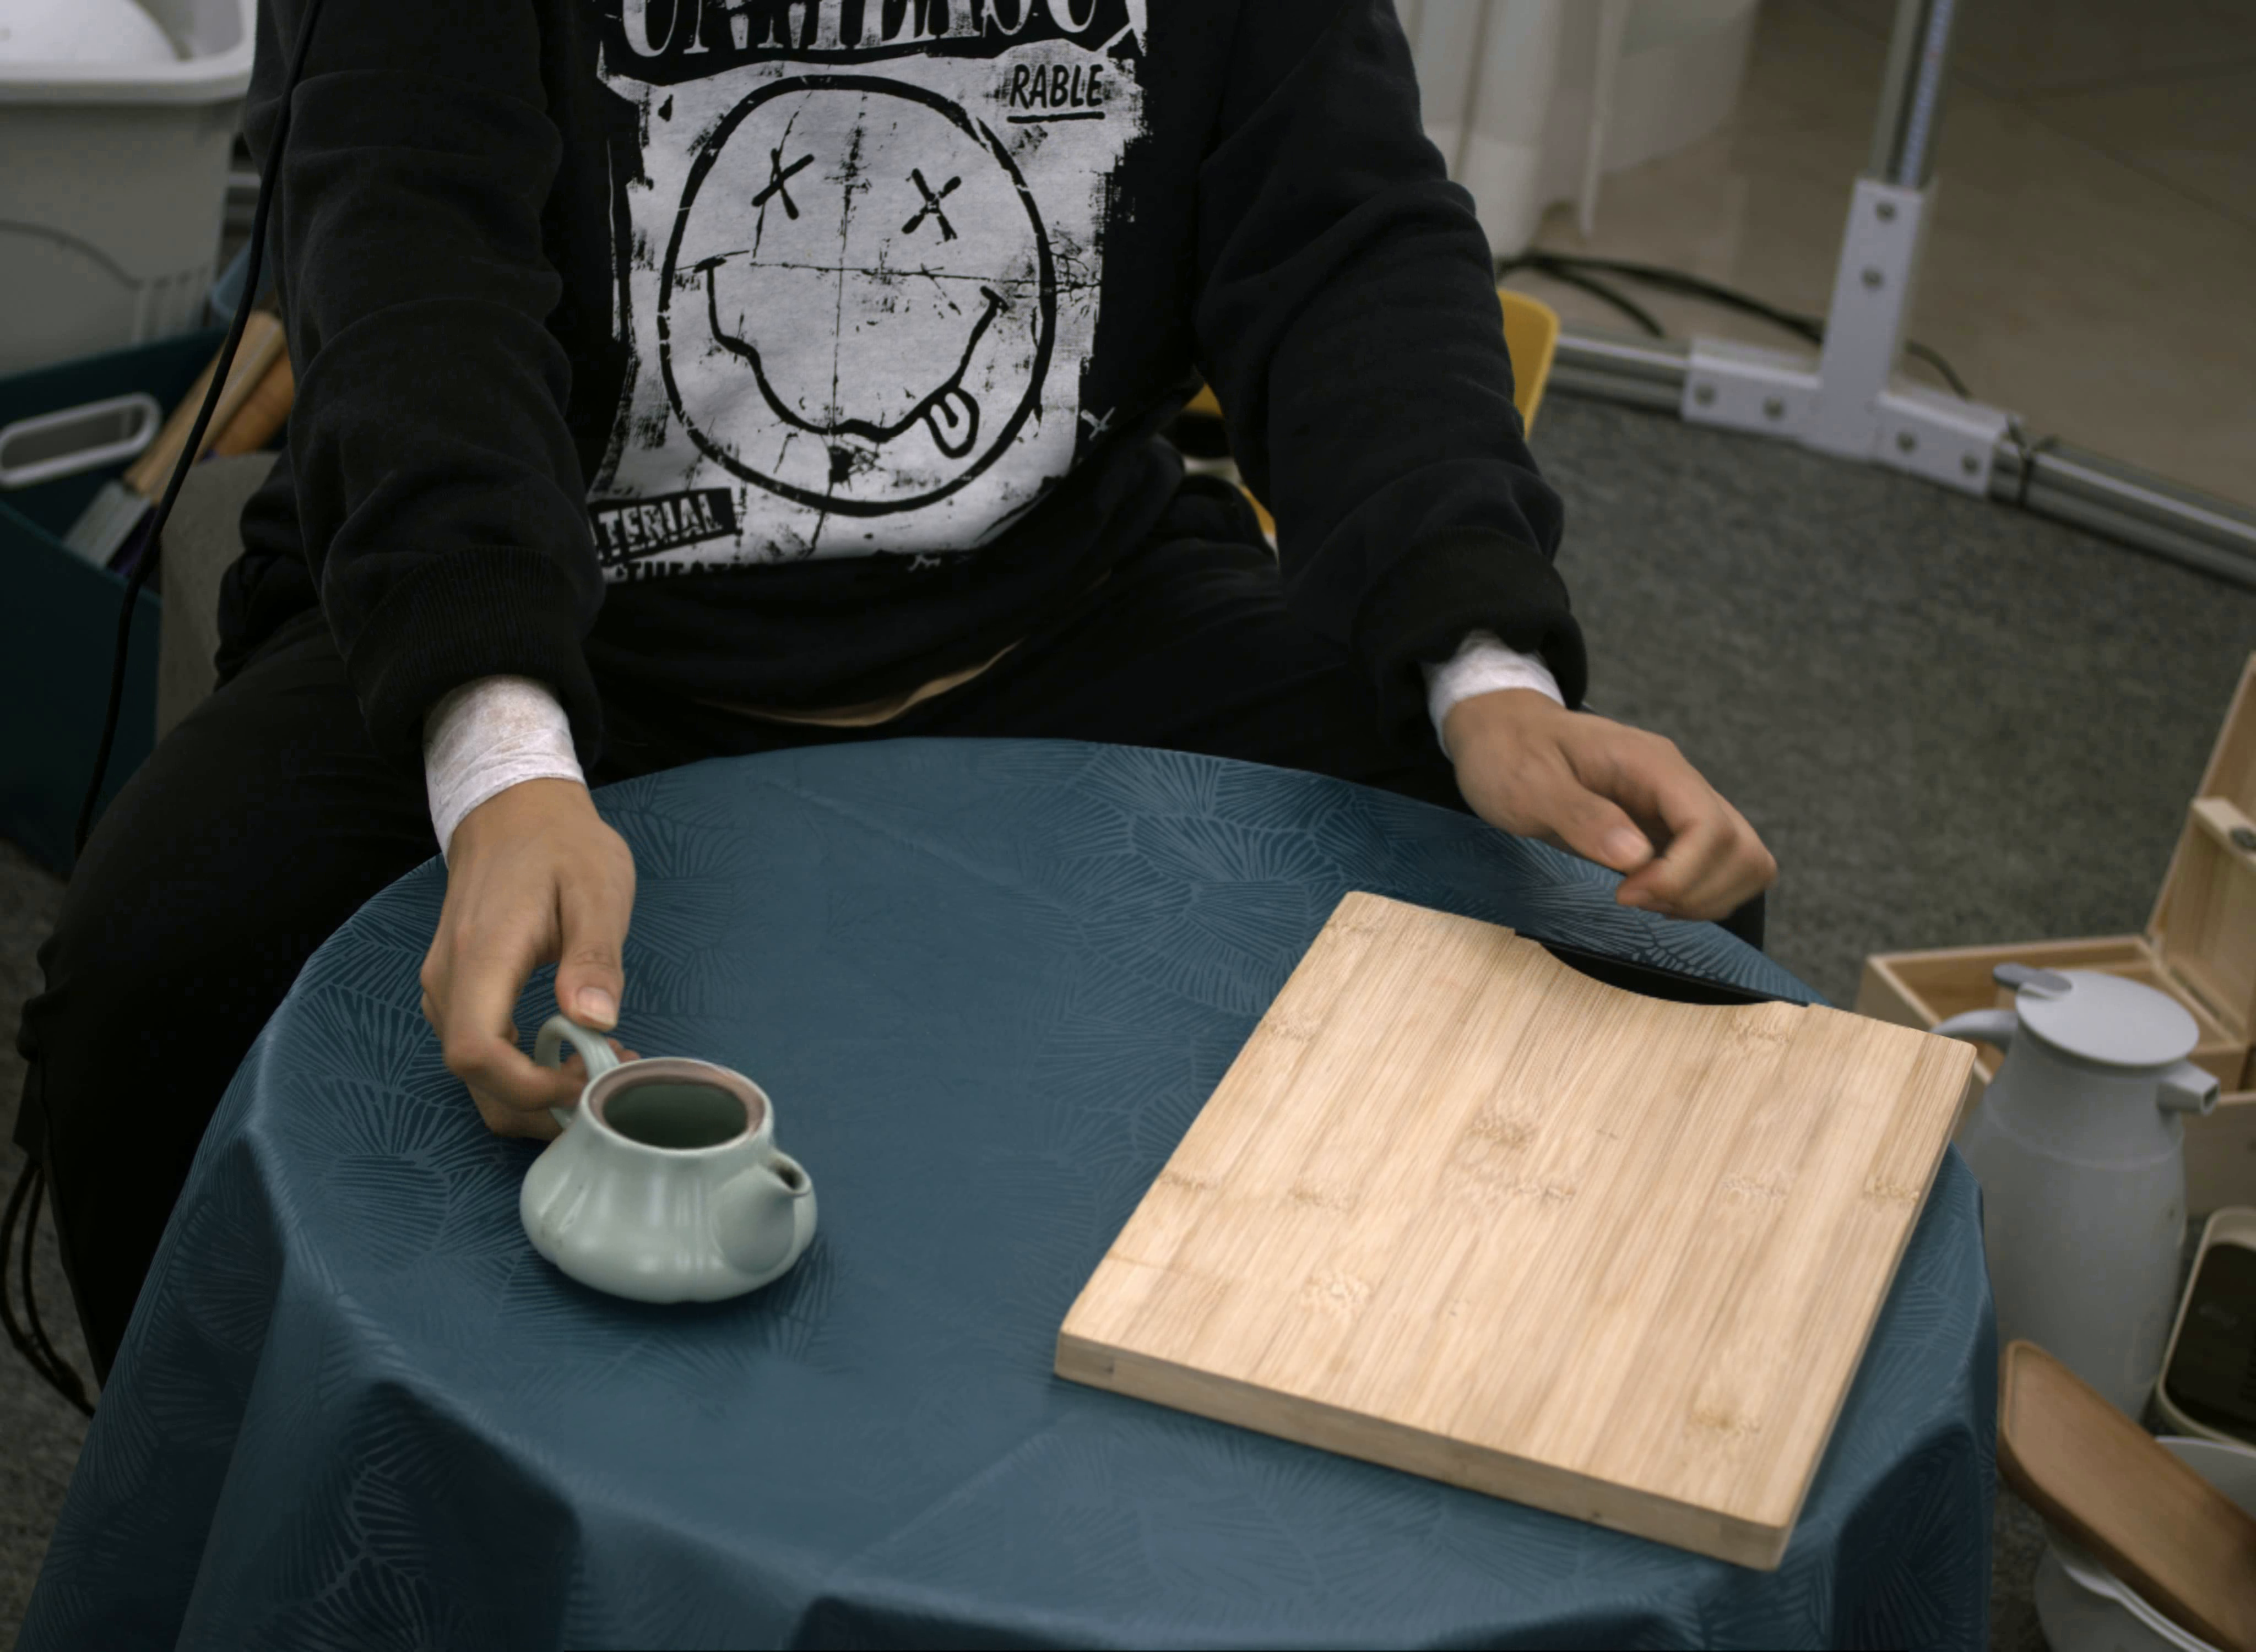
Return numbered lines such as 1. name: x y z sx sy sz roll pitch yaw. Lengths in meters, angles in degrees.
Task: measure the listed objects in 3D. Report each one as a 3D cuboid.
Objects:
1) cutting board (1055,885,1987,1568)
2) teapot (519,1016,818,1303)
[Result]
1. cutting board: 0.143 0.126 1.815 0.251 0.023 0.349 13 28 13
2. teapot: -0.152 0.111 1.730 0.096 0.061 0.138 -21 38 -40
